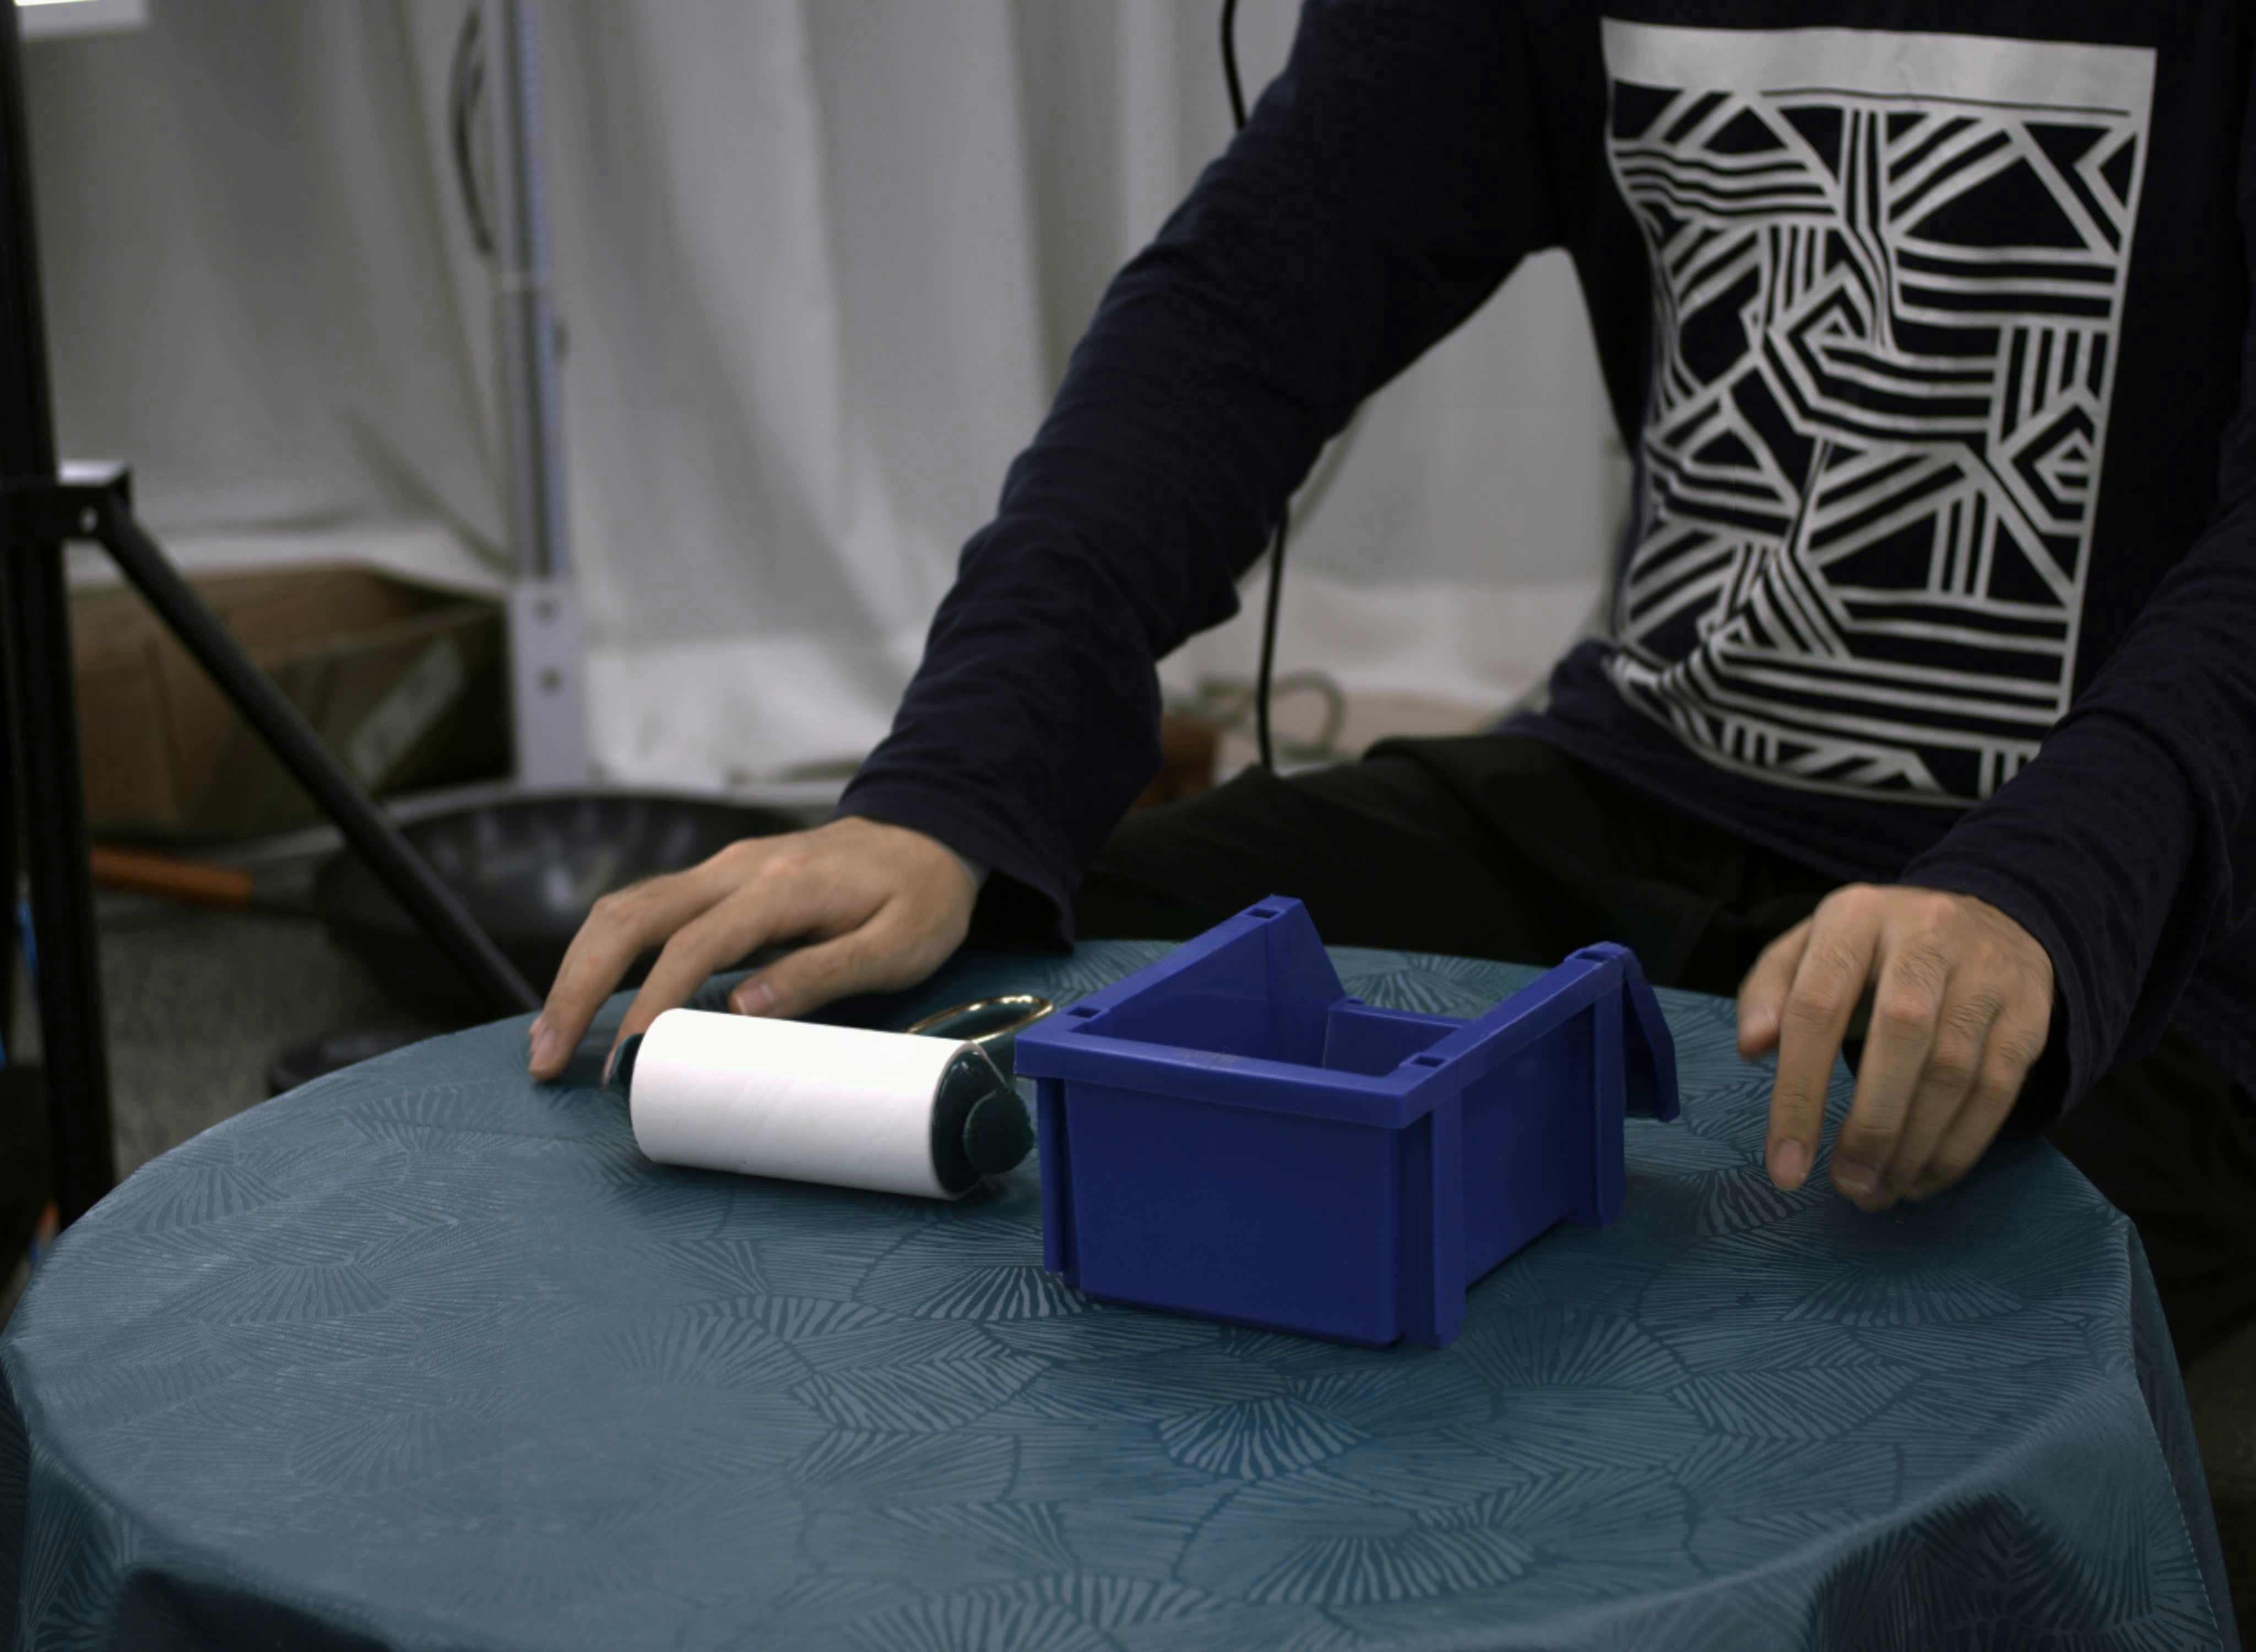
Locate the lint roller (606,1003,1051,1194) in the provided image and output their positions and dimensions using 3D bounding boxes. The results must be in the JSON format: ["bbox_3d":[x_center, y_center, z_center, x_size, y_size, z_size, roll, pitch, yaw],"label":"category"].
[{"bbox_3d":[-0.067,0.069,1.640,0.136,0.048,0.177,5,13,25],"label":"lint roller"}]

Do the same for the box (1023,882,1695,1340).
[{"bbox_3d":[0.068,0.077,1.513,0.127,0.082,0.176,6,20,32],"label":"box"}]
